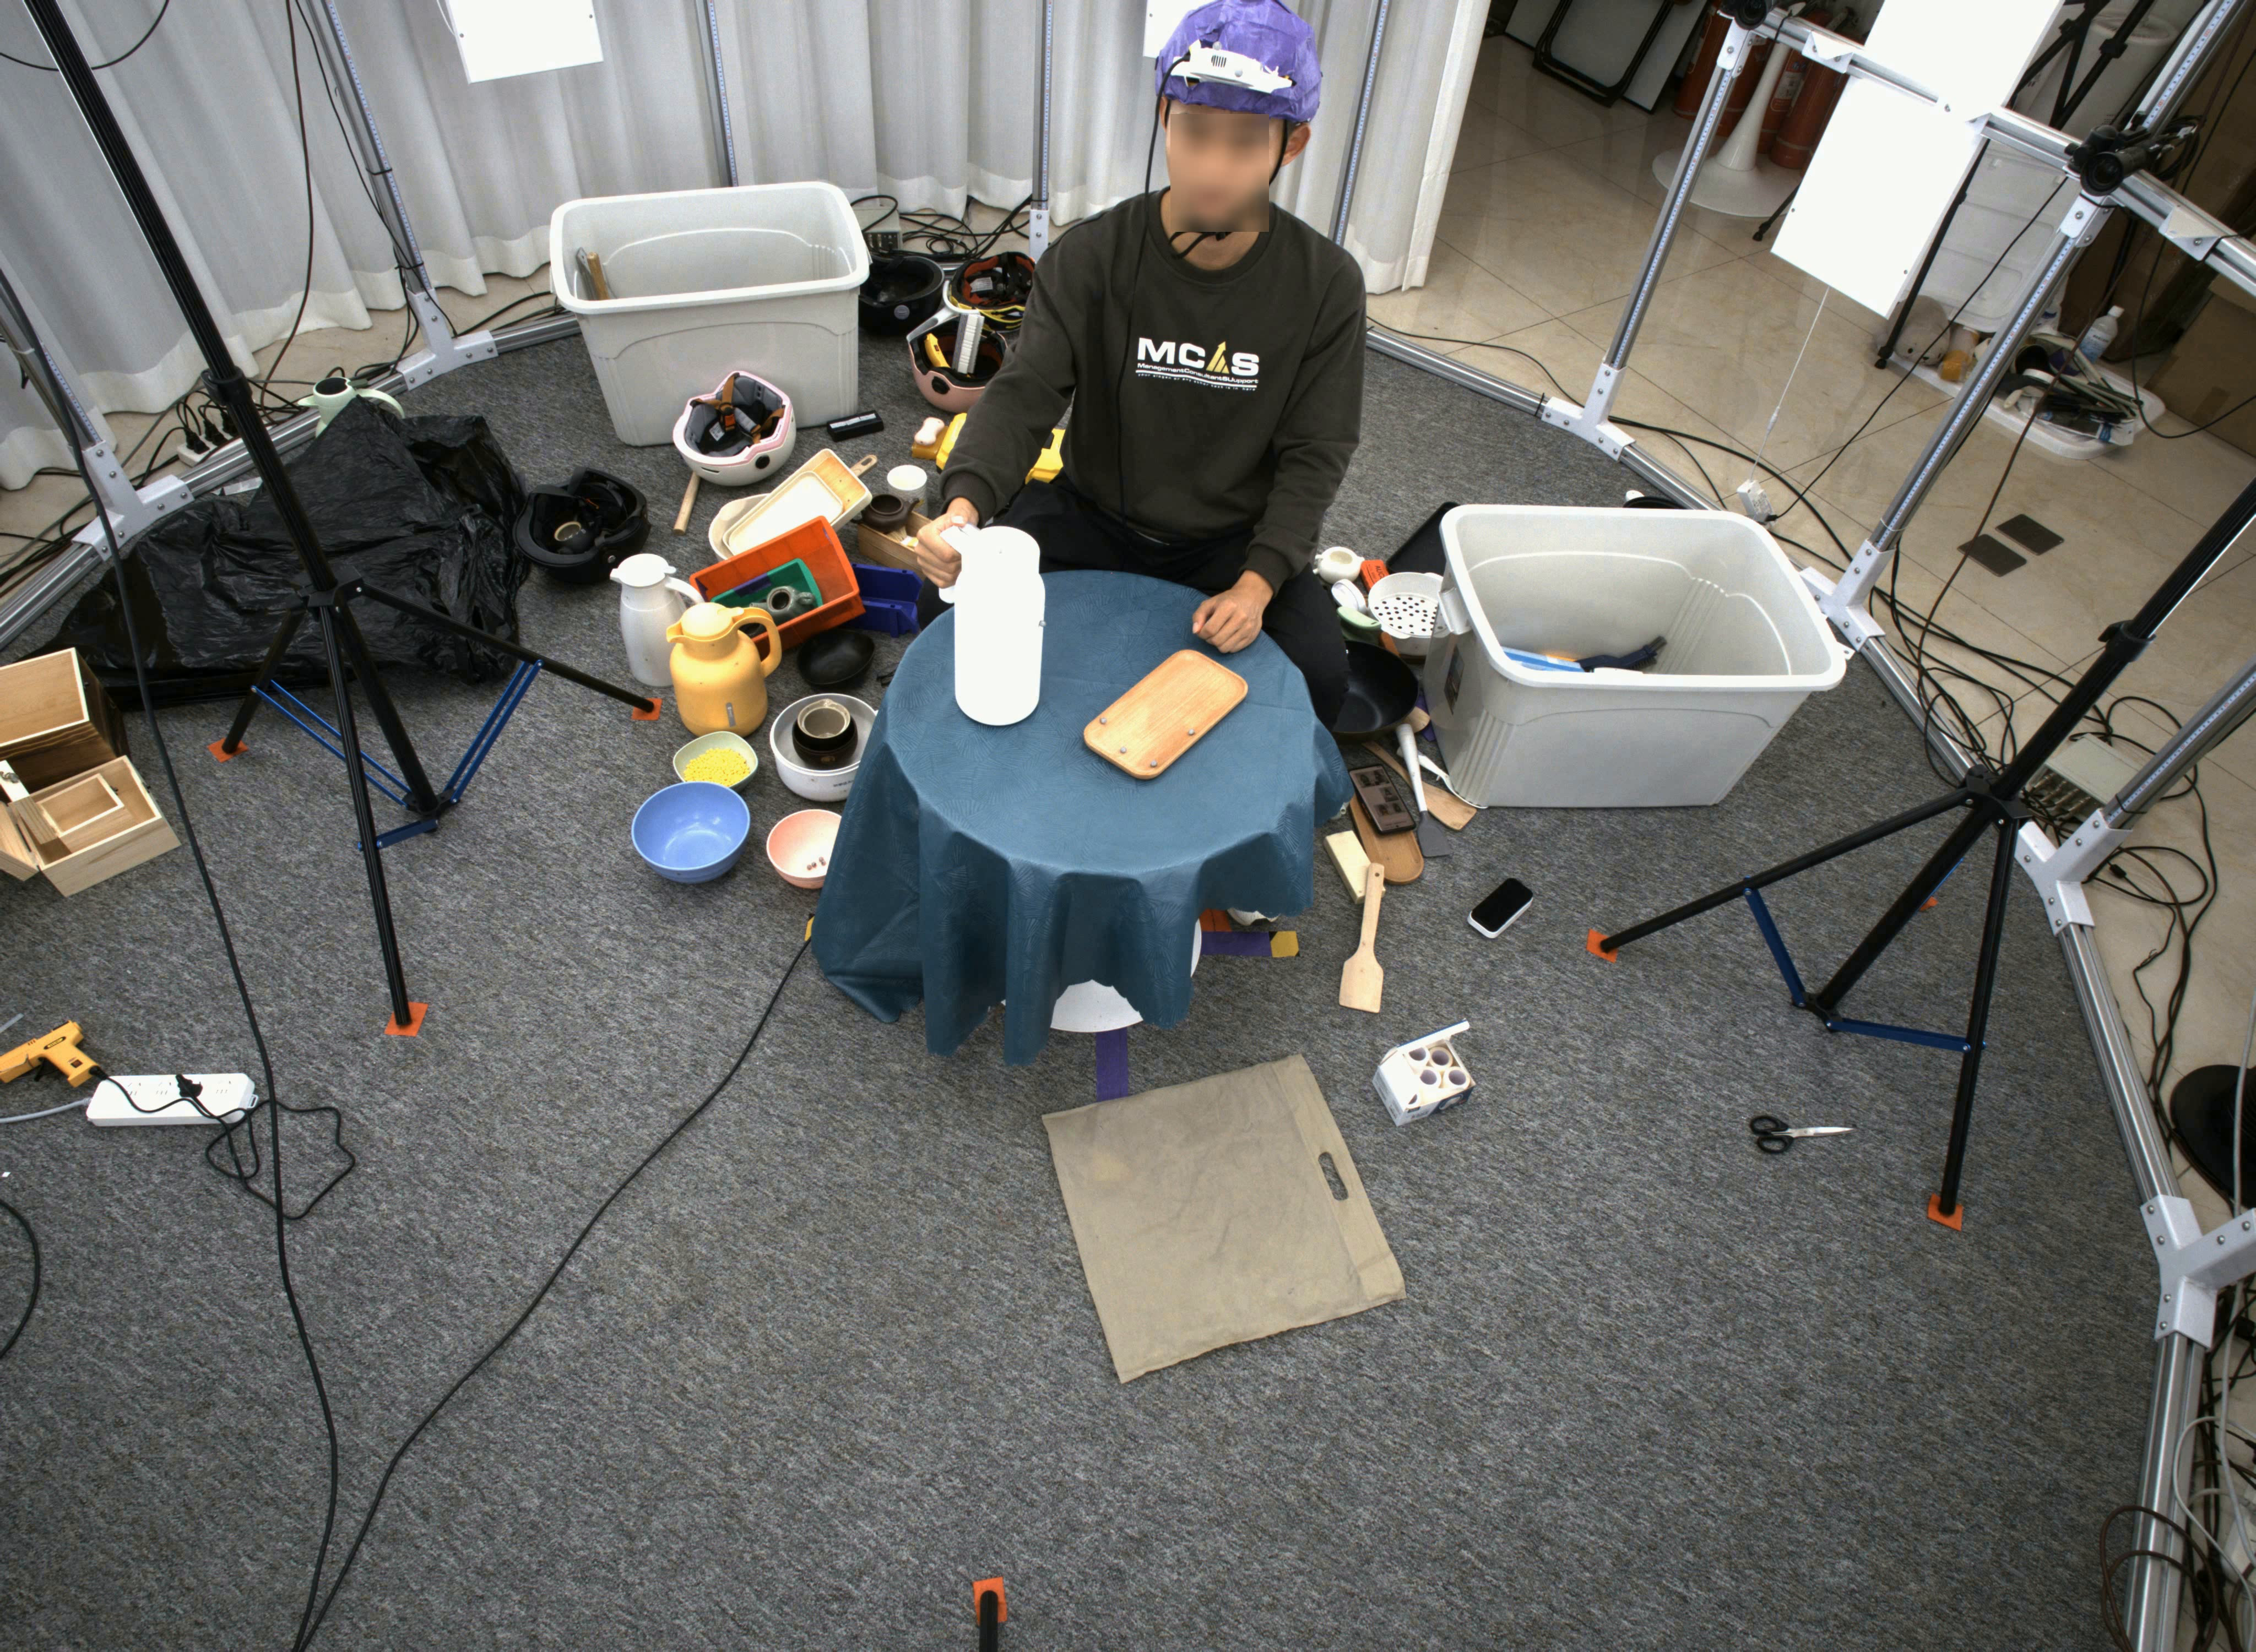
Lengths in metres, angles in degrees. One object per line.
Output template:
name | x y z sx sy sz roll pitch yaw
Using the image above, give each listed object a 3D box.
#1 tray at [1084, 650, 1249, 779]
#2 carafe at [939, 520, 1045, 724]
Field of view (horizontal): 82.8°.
tray | 0.056 -0.159 1.797 0.132 0.022 0.253 35 54 21
carafe | -0.185 -0.273 1.712 0.175 0.262 0.125 39 58 23
